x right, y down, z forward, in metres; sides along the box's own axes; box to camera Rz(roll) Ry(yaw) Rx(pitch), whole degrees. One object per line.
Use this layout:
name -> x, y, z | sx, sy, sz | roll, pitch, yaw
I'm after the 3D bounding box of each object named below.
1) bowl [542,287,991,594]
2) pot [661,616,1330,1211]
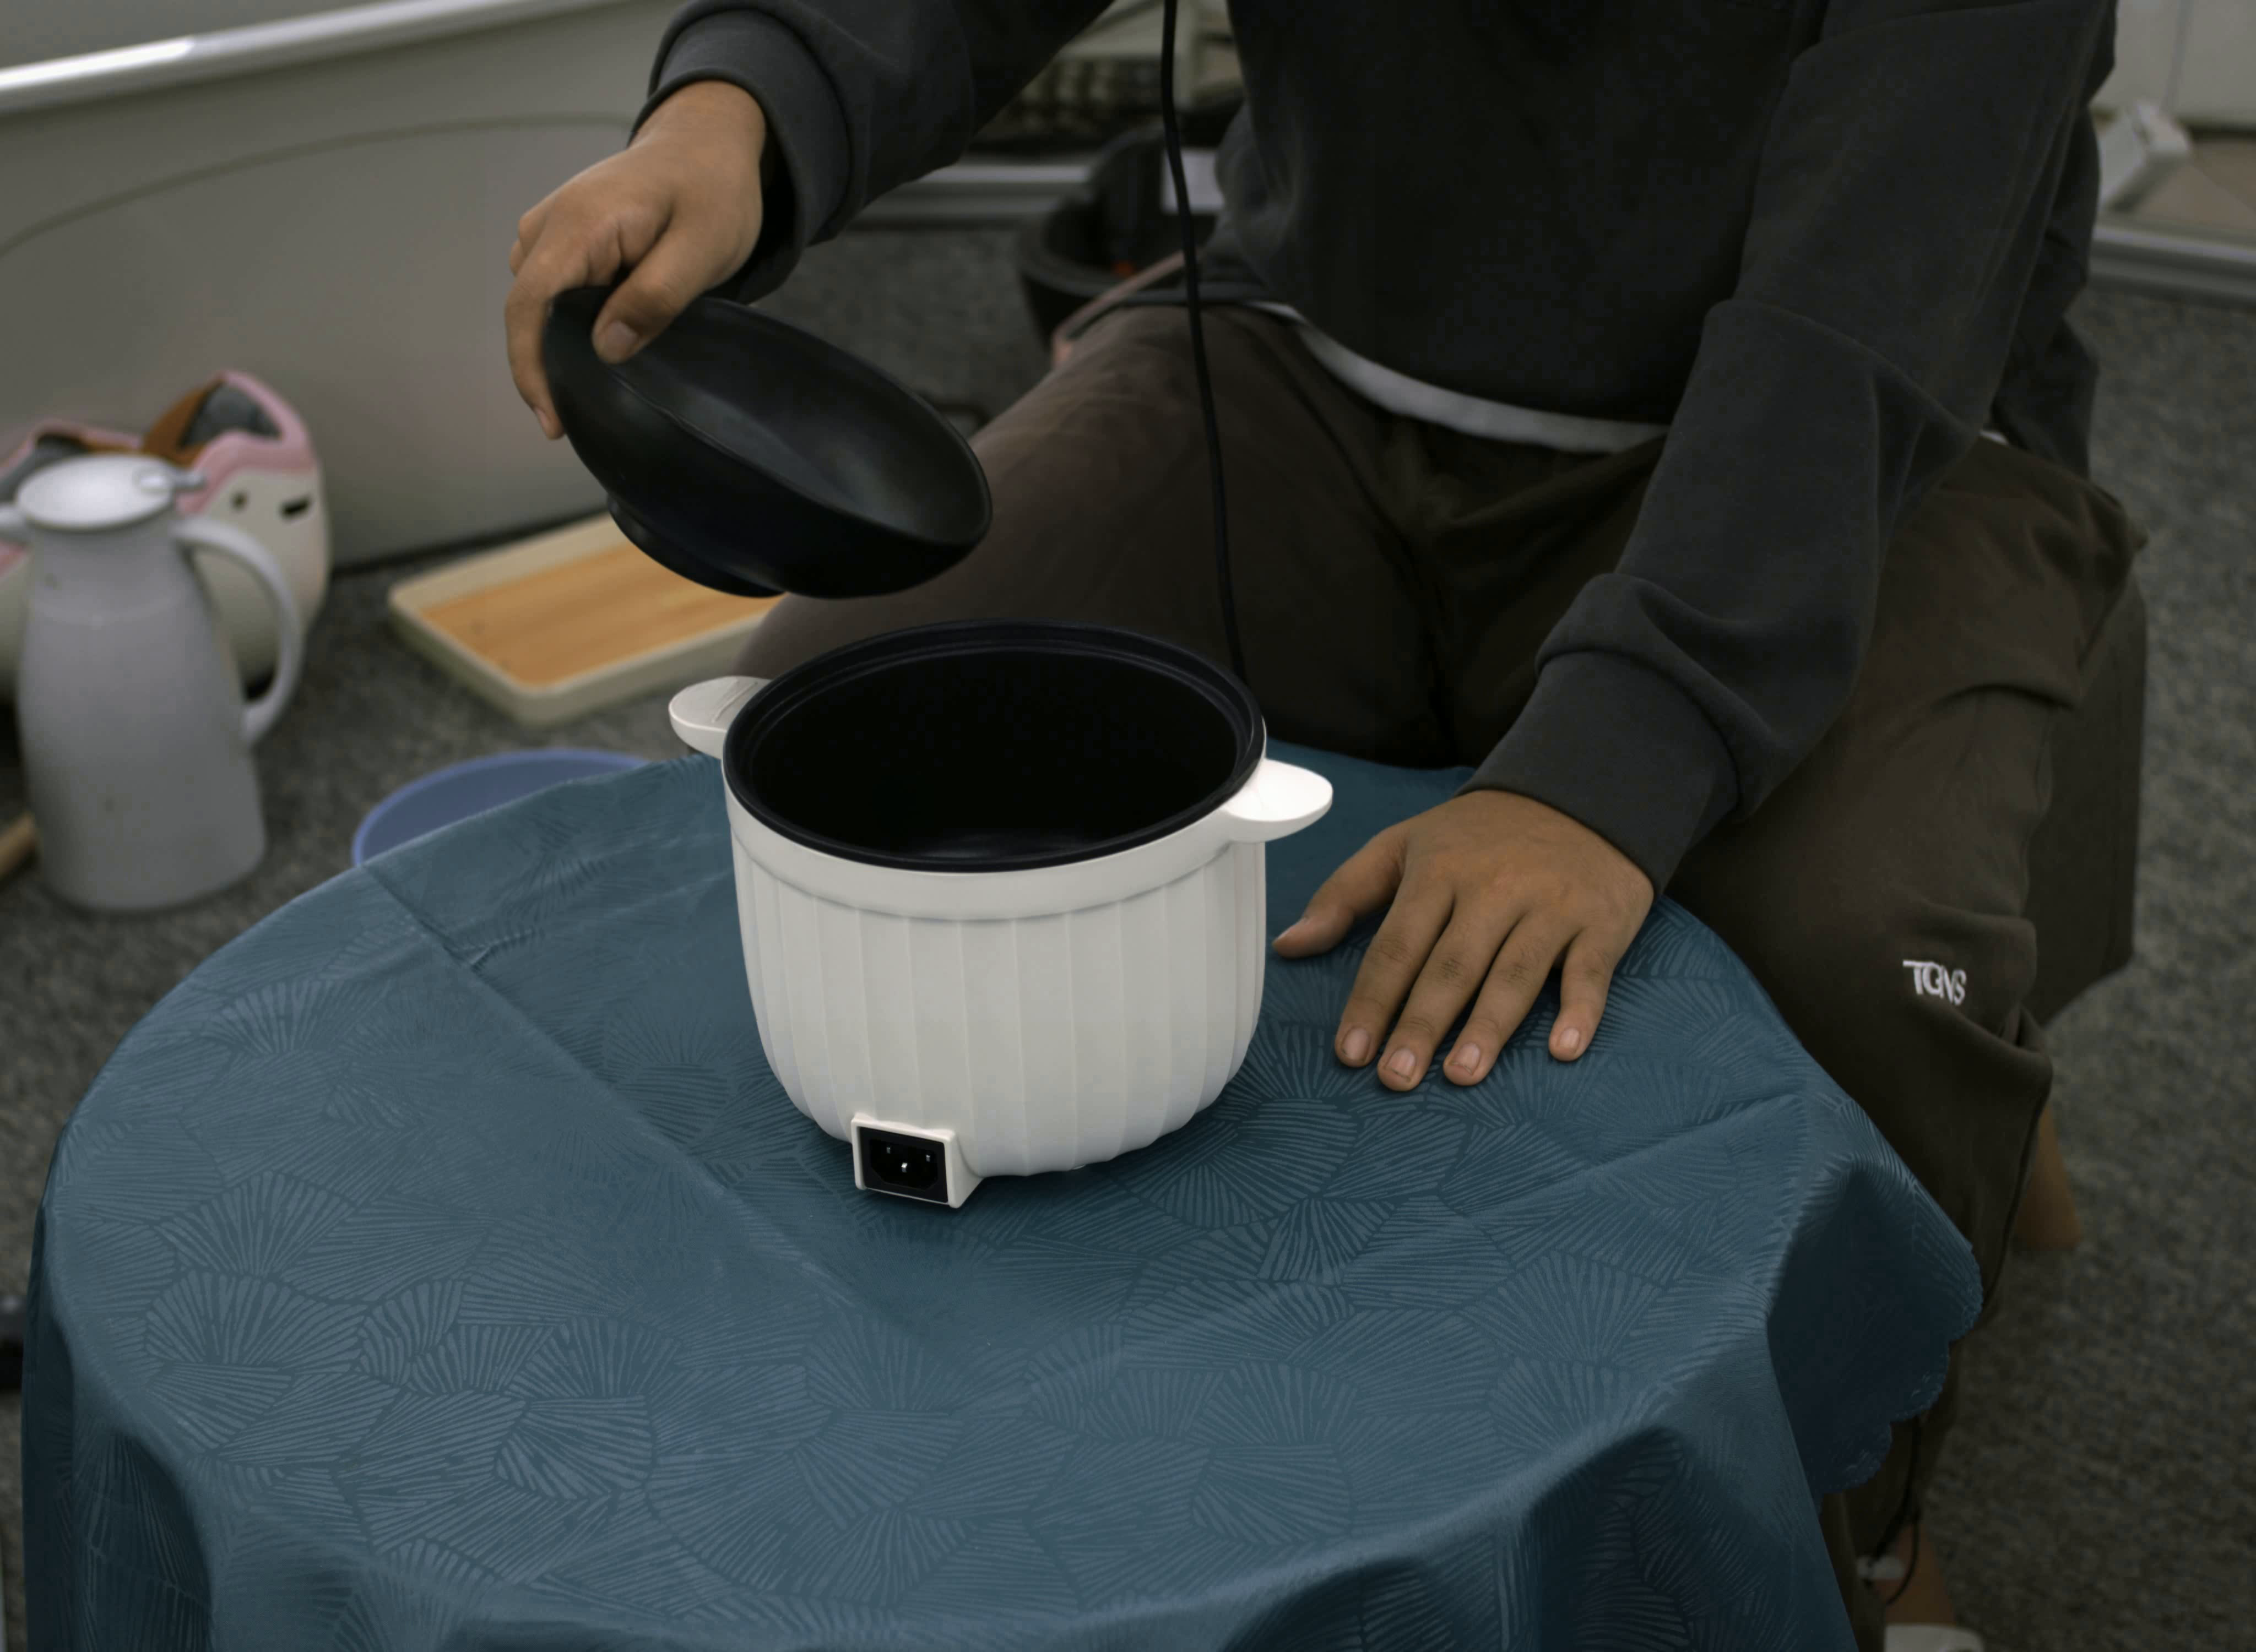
bowl -> -0.131, -0.121, 1.889 | 0.170, 0.066, 0.139 | 33, 22, 15
pot -> -0.042, 0.026, 1.905 | 0.239, 0.141, 0.194 | 10, 32, 20
